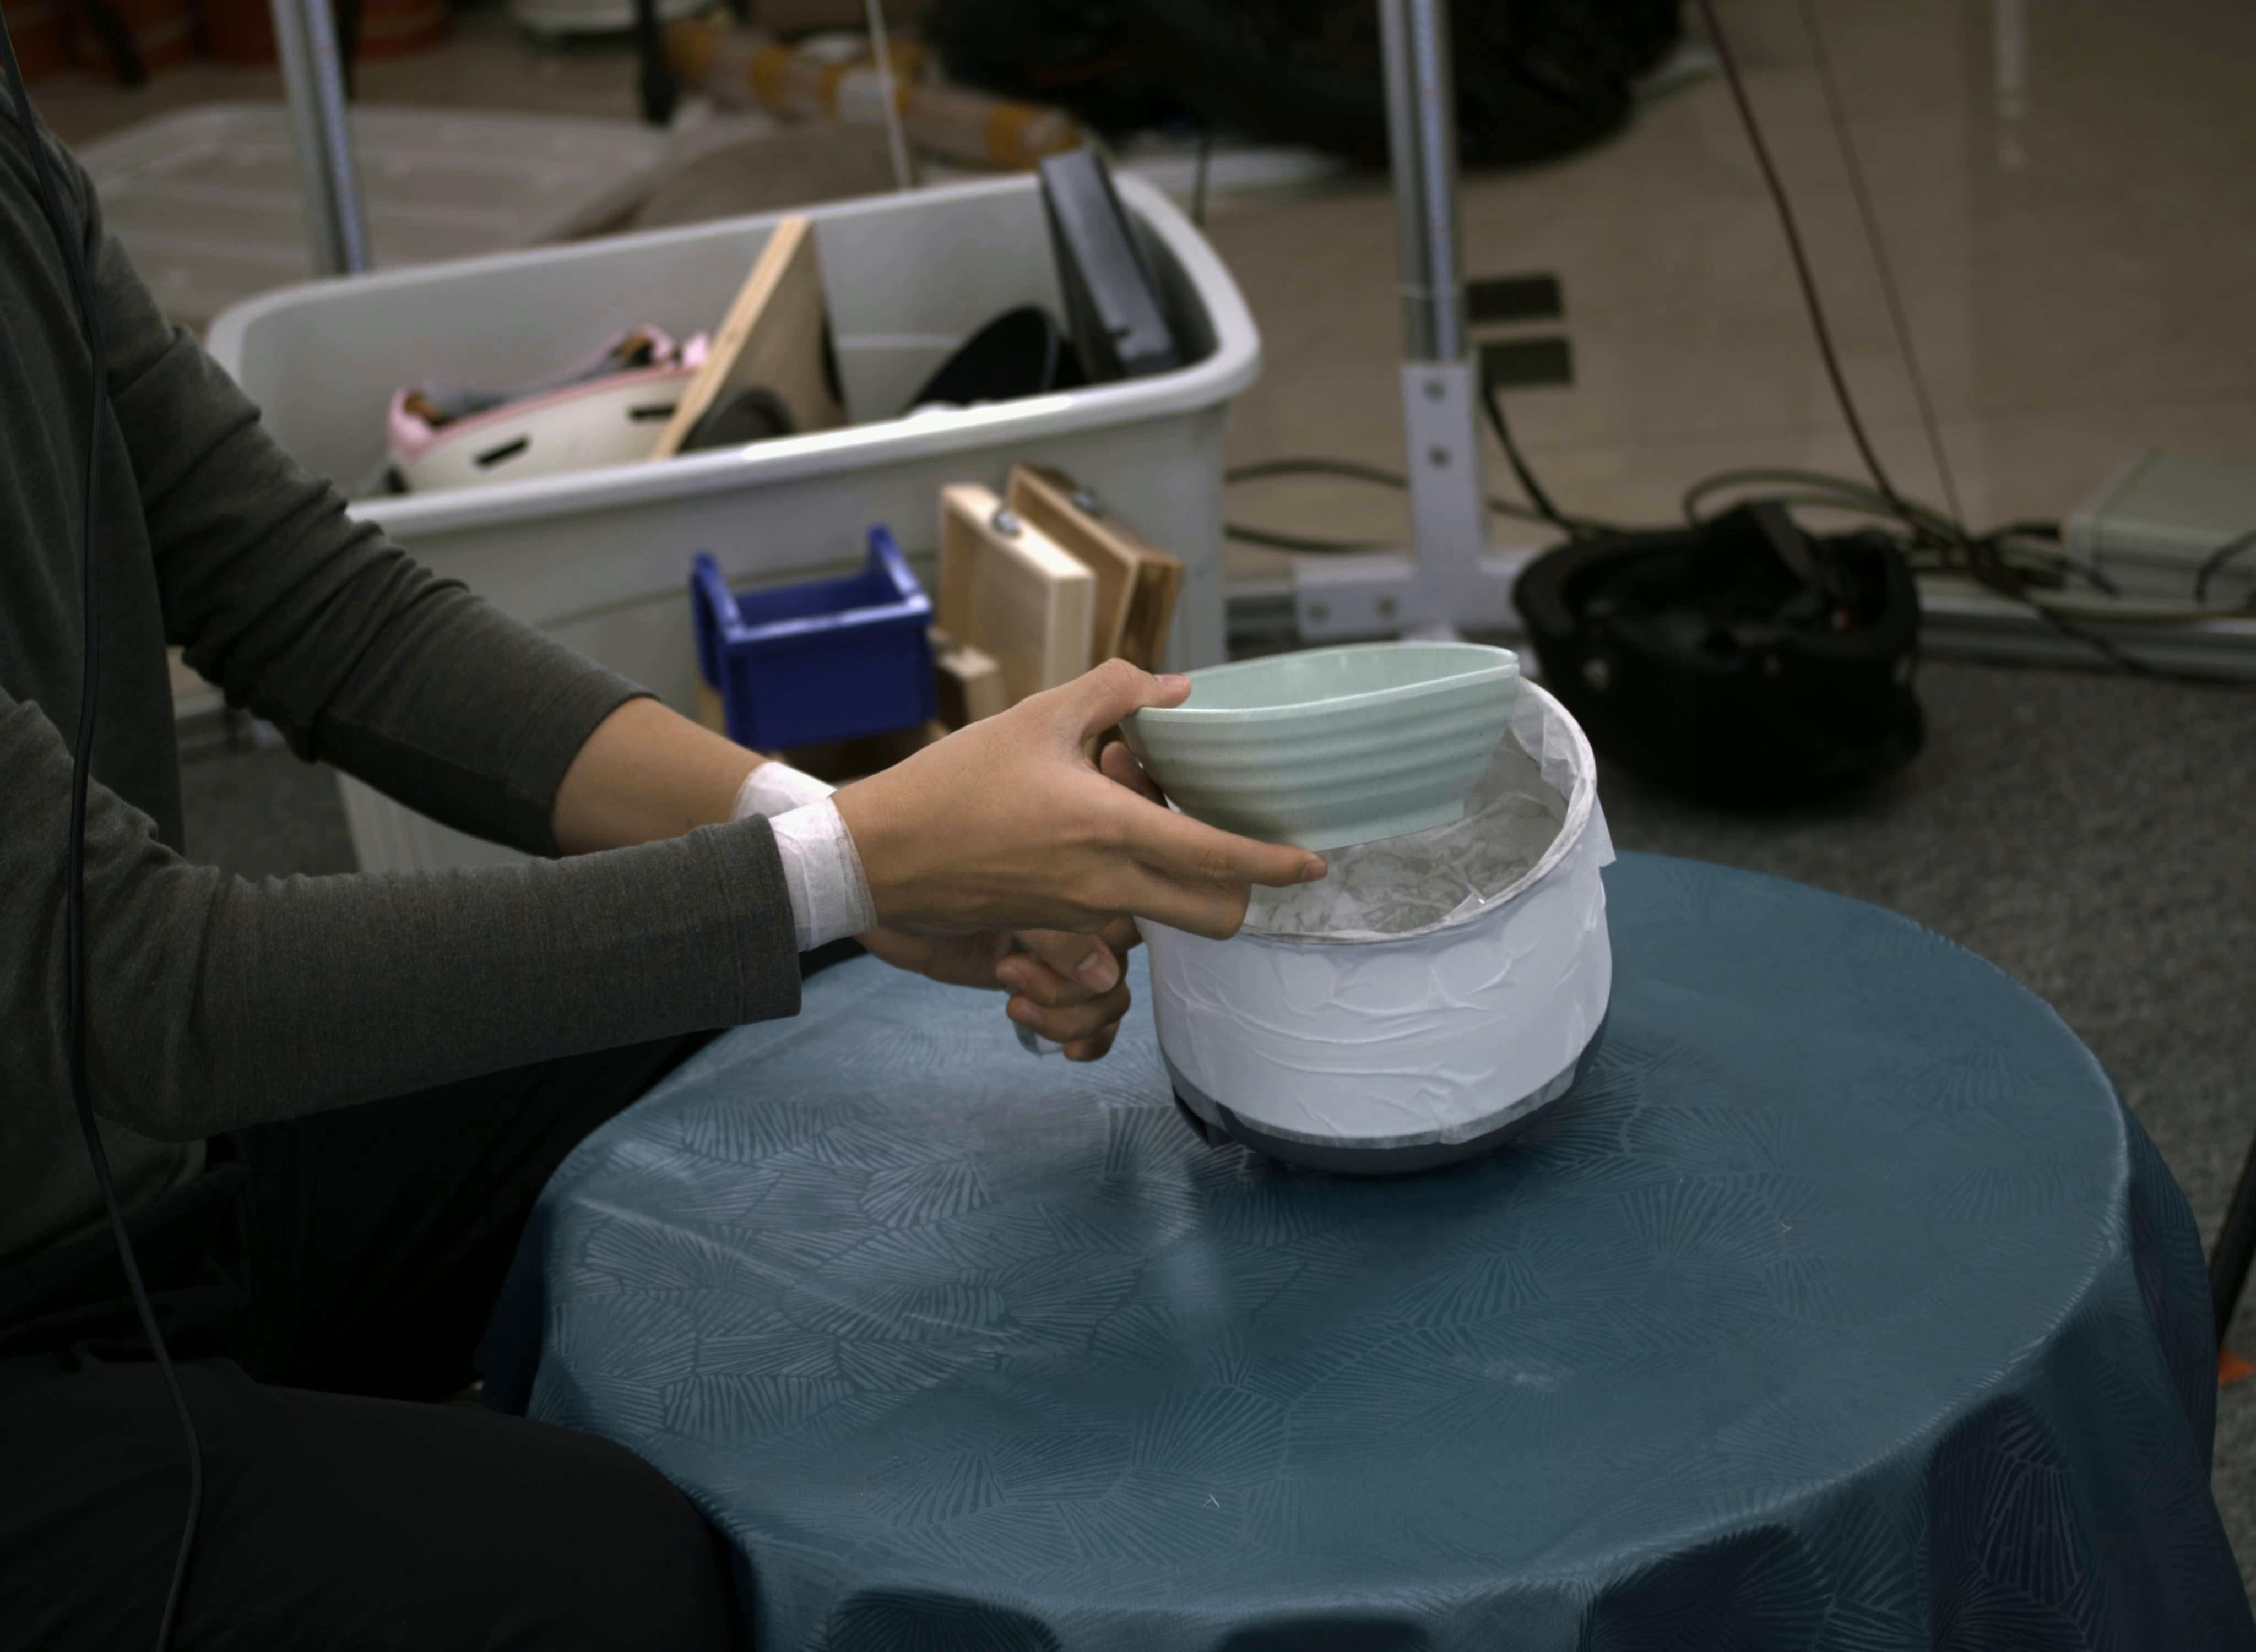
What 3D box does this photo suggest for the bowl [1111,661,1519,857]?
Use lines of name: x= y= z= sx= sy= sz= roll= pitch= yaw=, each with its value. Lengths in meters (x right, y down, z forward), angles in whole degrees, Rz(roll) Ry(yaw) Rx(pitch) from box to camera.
bowl: x=0.070 y=-0.024 z=2.064 sx=0.151 sy=0.059 sz=0.151 roll=-6 pitch=6 yaw=1

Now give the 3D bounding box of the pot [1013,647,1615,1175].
pot: x=0.068 y=0.037 z=2.161 sx=0.233 sy=0.139 sz=0.175 roll=-4 pitch=39 yaw=7
